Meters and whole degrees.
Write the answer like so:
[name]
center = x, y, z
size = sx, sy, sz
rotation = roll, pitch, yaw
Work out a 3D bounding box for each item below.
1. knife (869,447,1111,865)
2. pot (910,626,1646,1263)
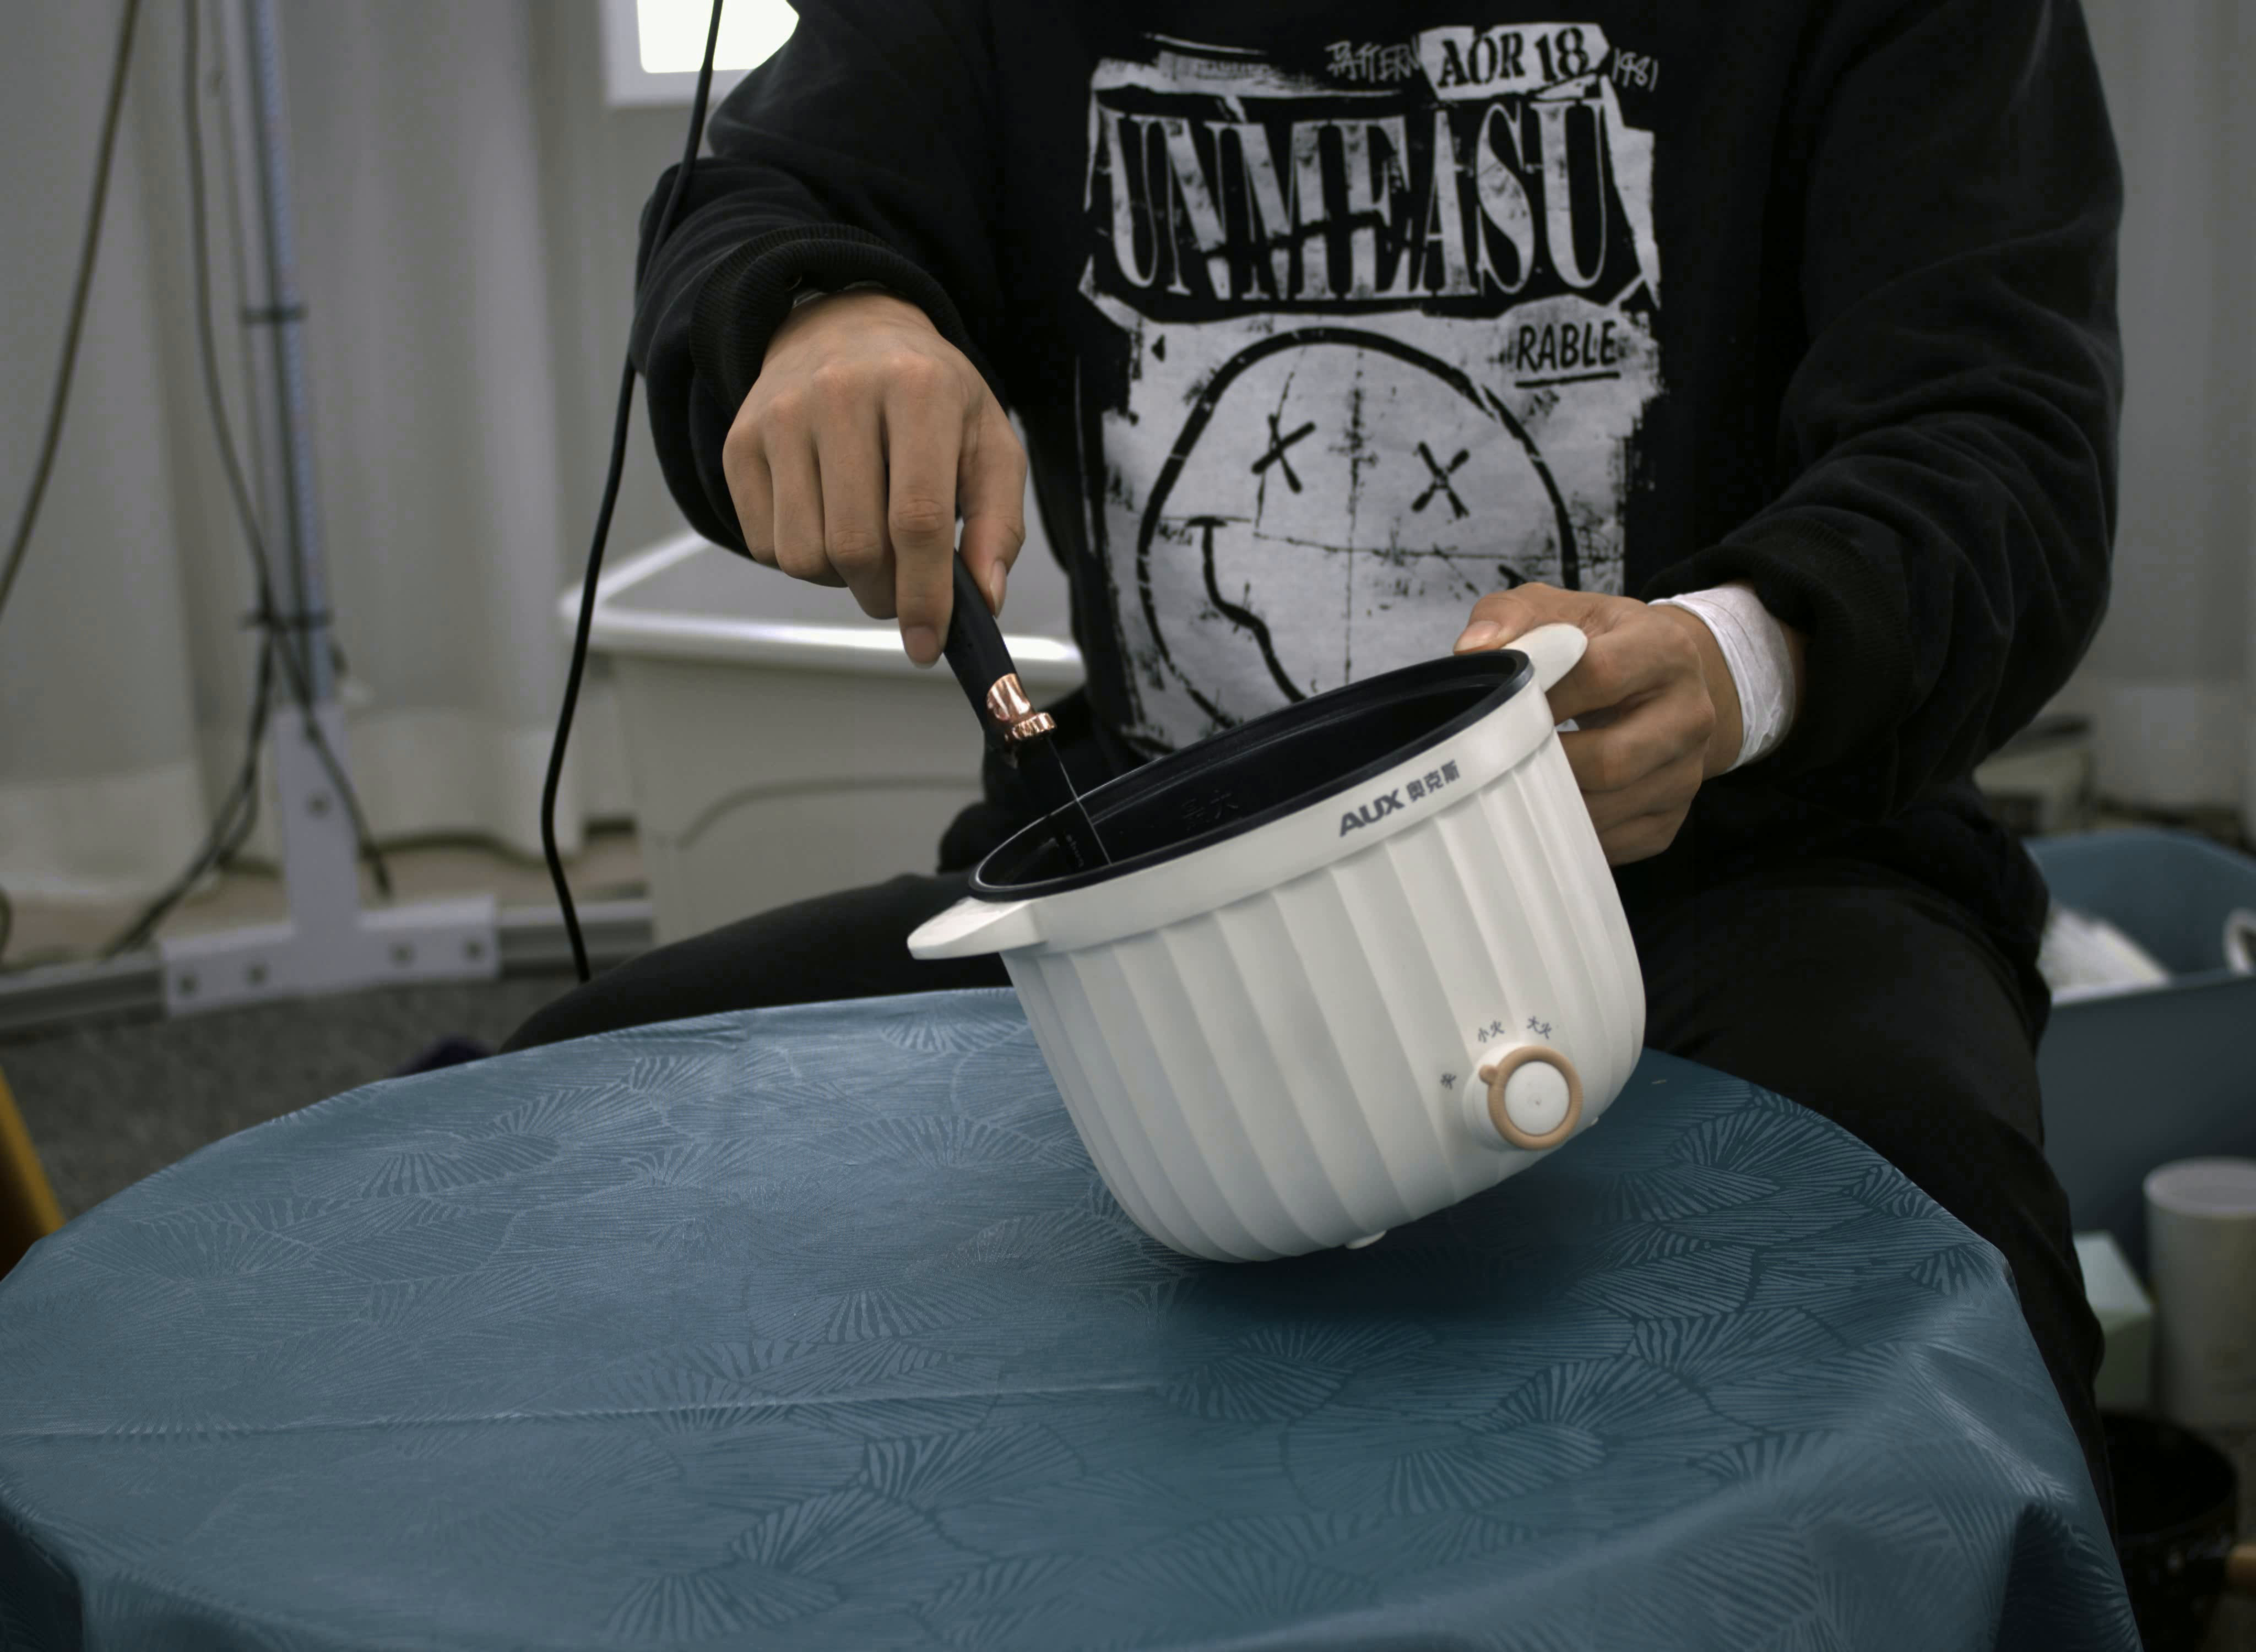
[knife]
center = -0.026, -0.023, 1.682
size = 0.017, 0.228, 0.026
rotation = -9, -26, -43
[pot]
center = 0.064, 0.043, 1.634
size = 0.240, 0.142, 0.190
rotation = -27, 6, -23
